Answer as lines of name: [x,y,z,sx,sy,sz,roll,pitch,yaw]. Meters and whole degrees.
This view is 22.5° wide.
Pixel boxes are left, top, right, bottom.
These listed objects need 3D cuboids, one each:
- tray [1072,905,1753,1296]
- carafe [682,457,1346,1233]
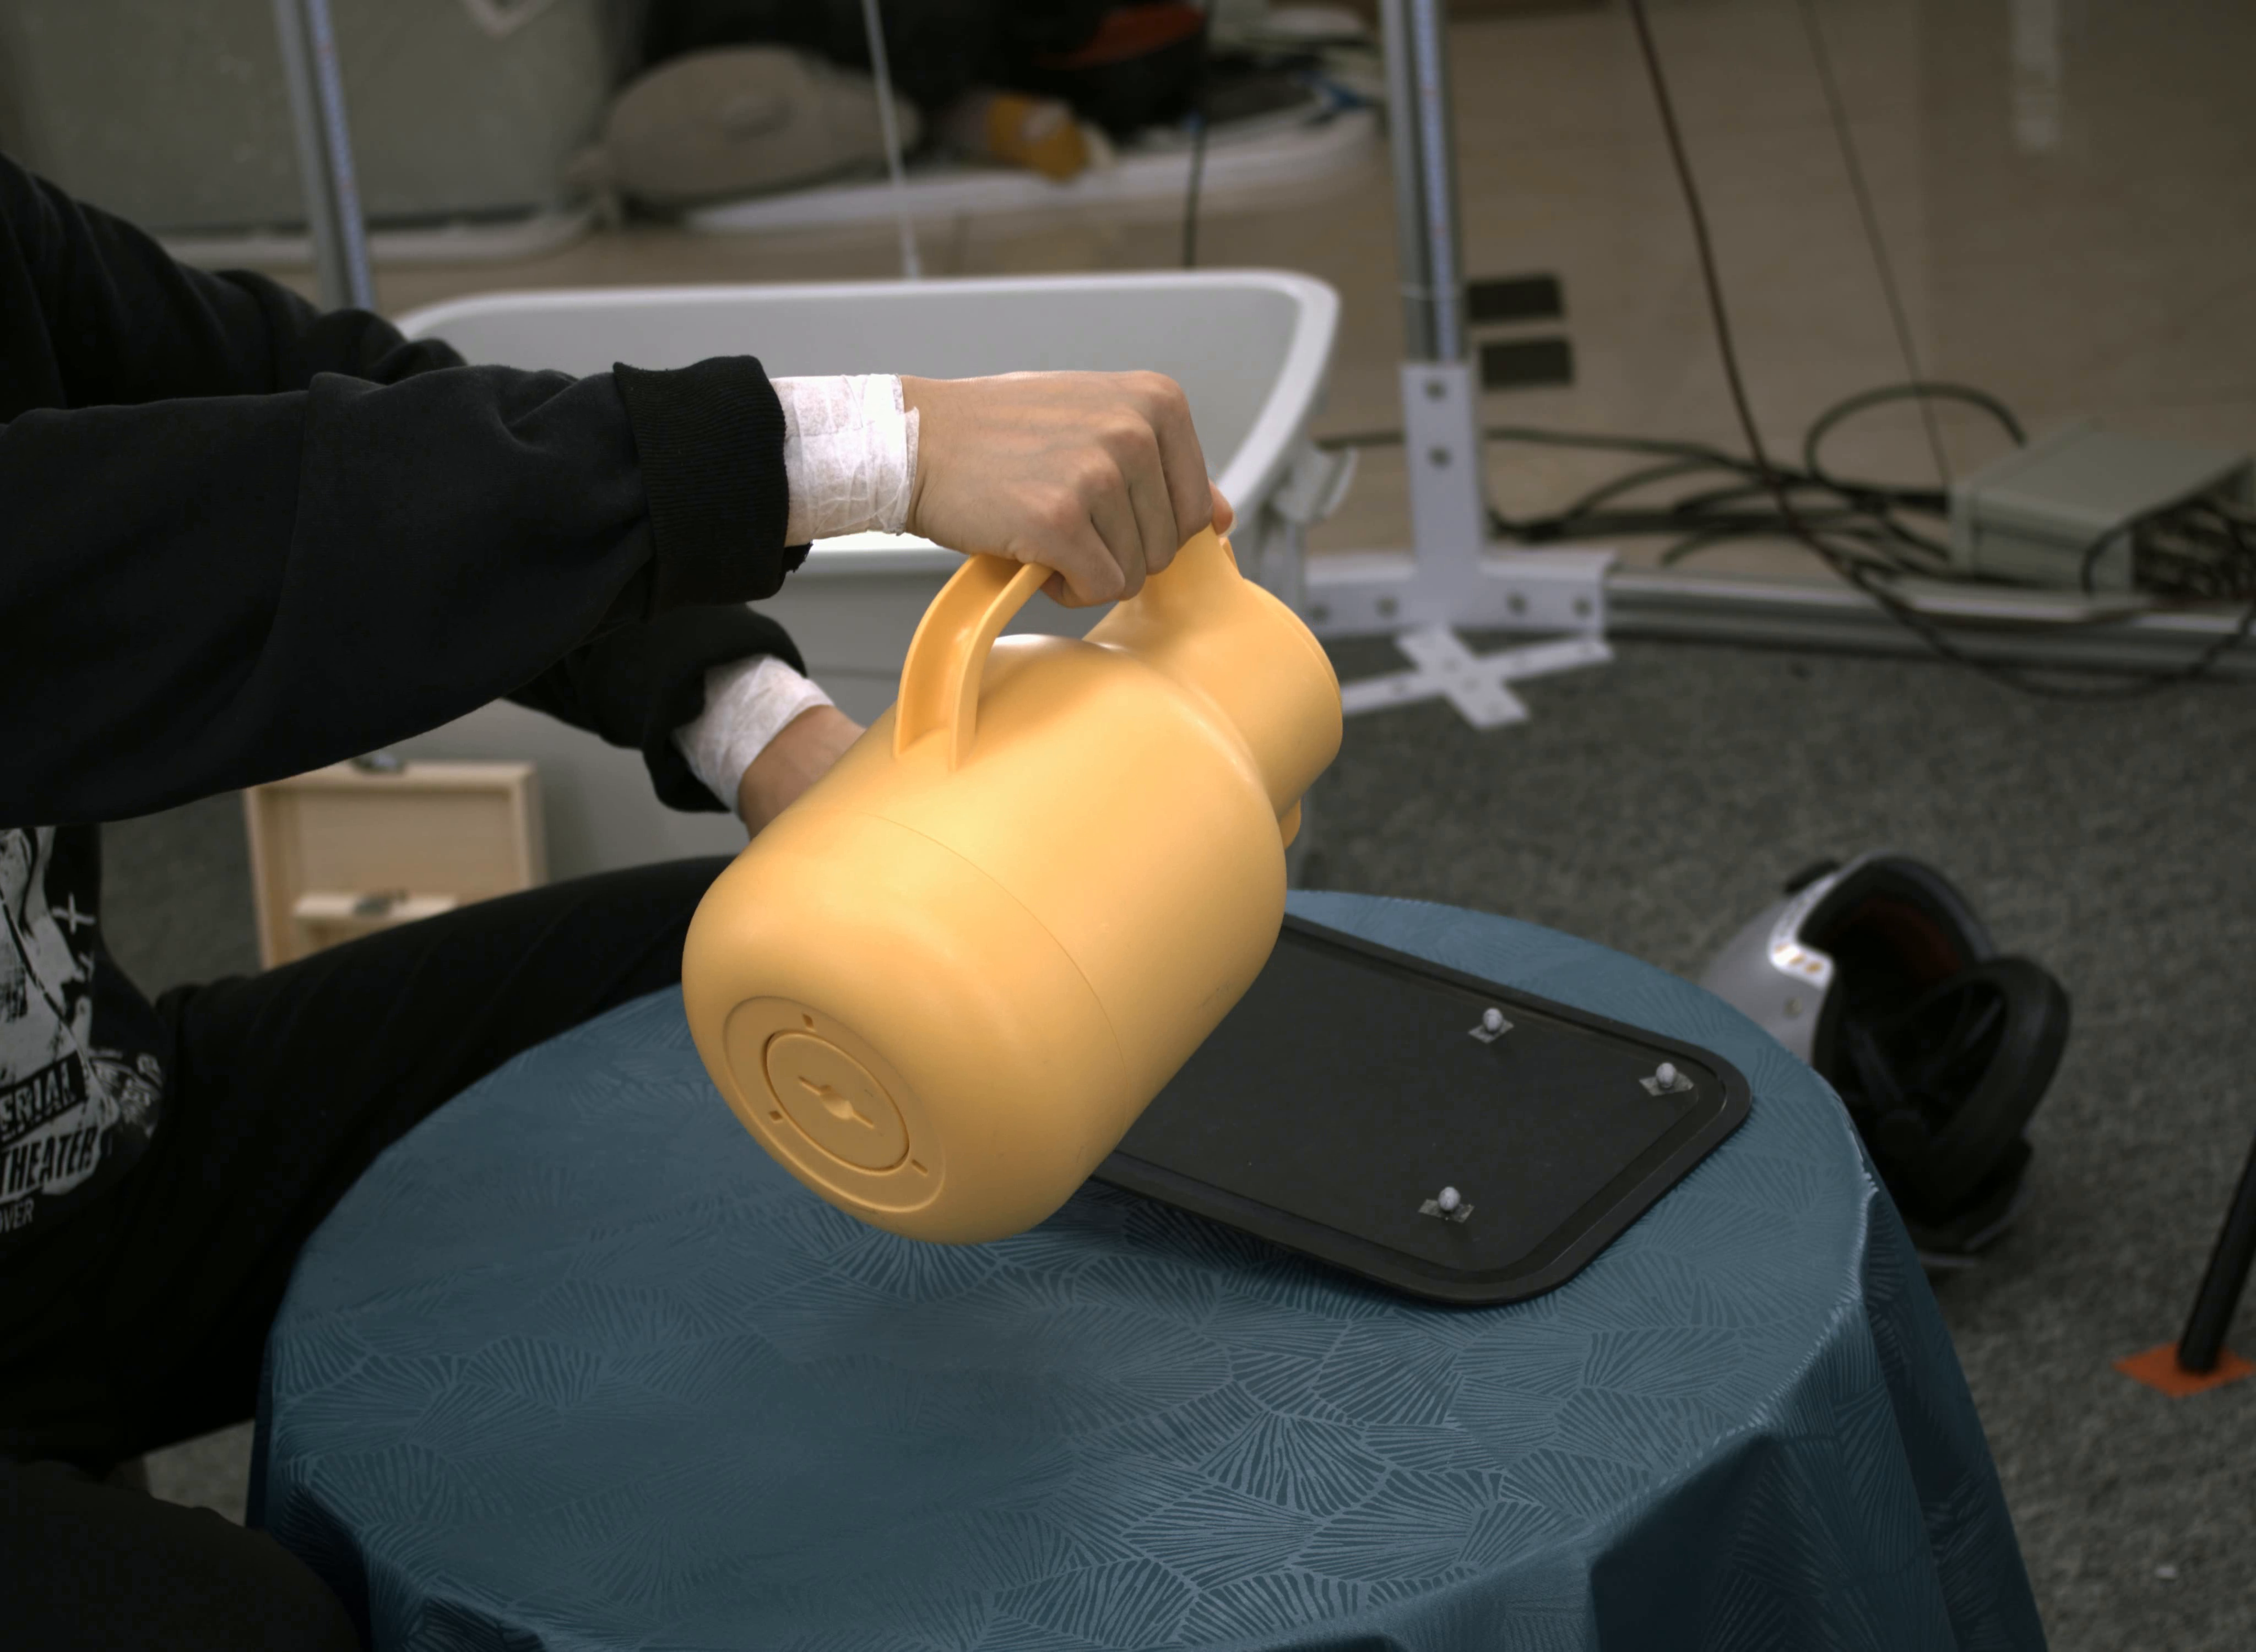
tray: [0.063,0.094,2.178,0.323,0.010,0.209,19,33,30]
carafe: [-0.033,-0.003,1.975,0.162,0.206,0.257,11,43,36]
